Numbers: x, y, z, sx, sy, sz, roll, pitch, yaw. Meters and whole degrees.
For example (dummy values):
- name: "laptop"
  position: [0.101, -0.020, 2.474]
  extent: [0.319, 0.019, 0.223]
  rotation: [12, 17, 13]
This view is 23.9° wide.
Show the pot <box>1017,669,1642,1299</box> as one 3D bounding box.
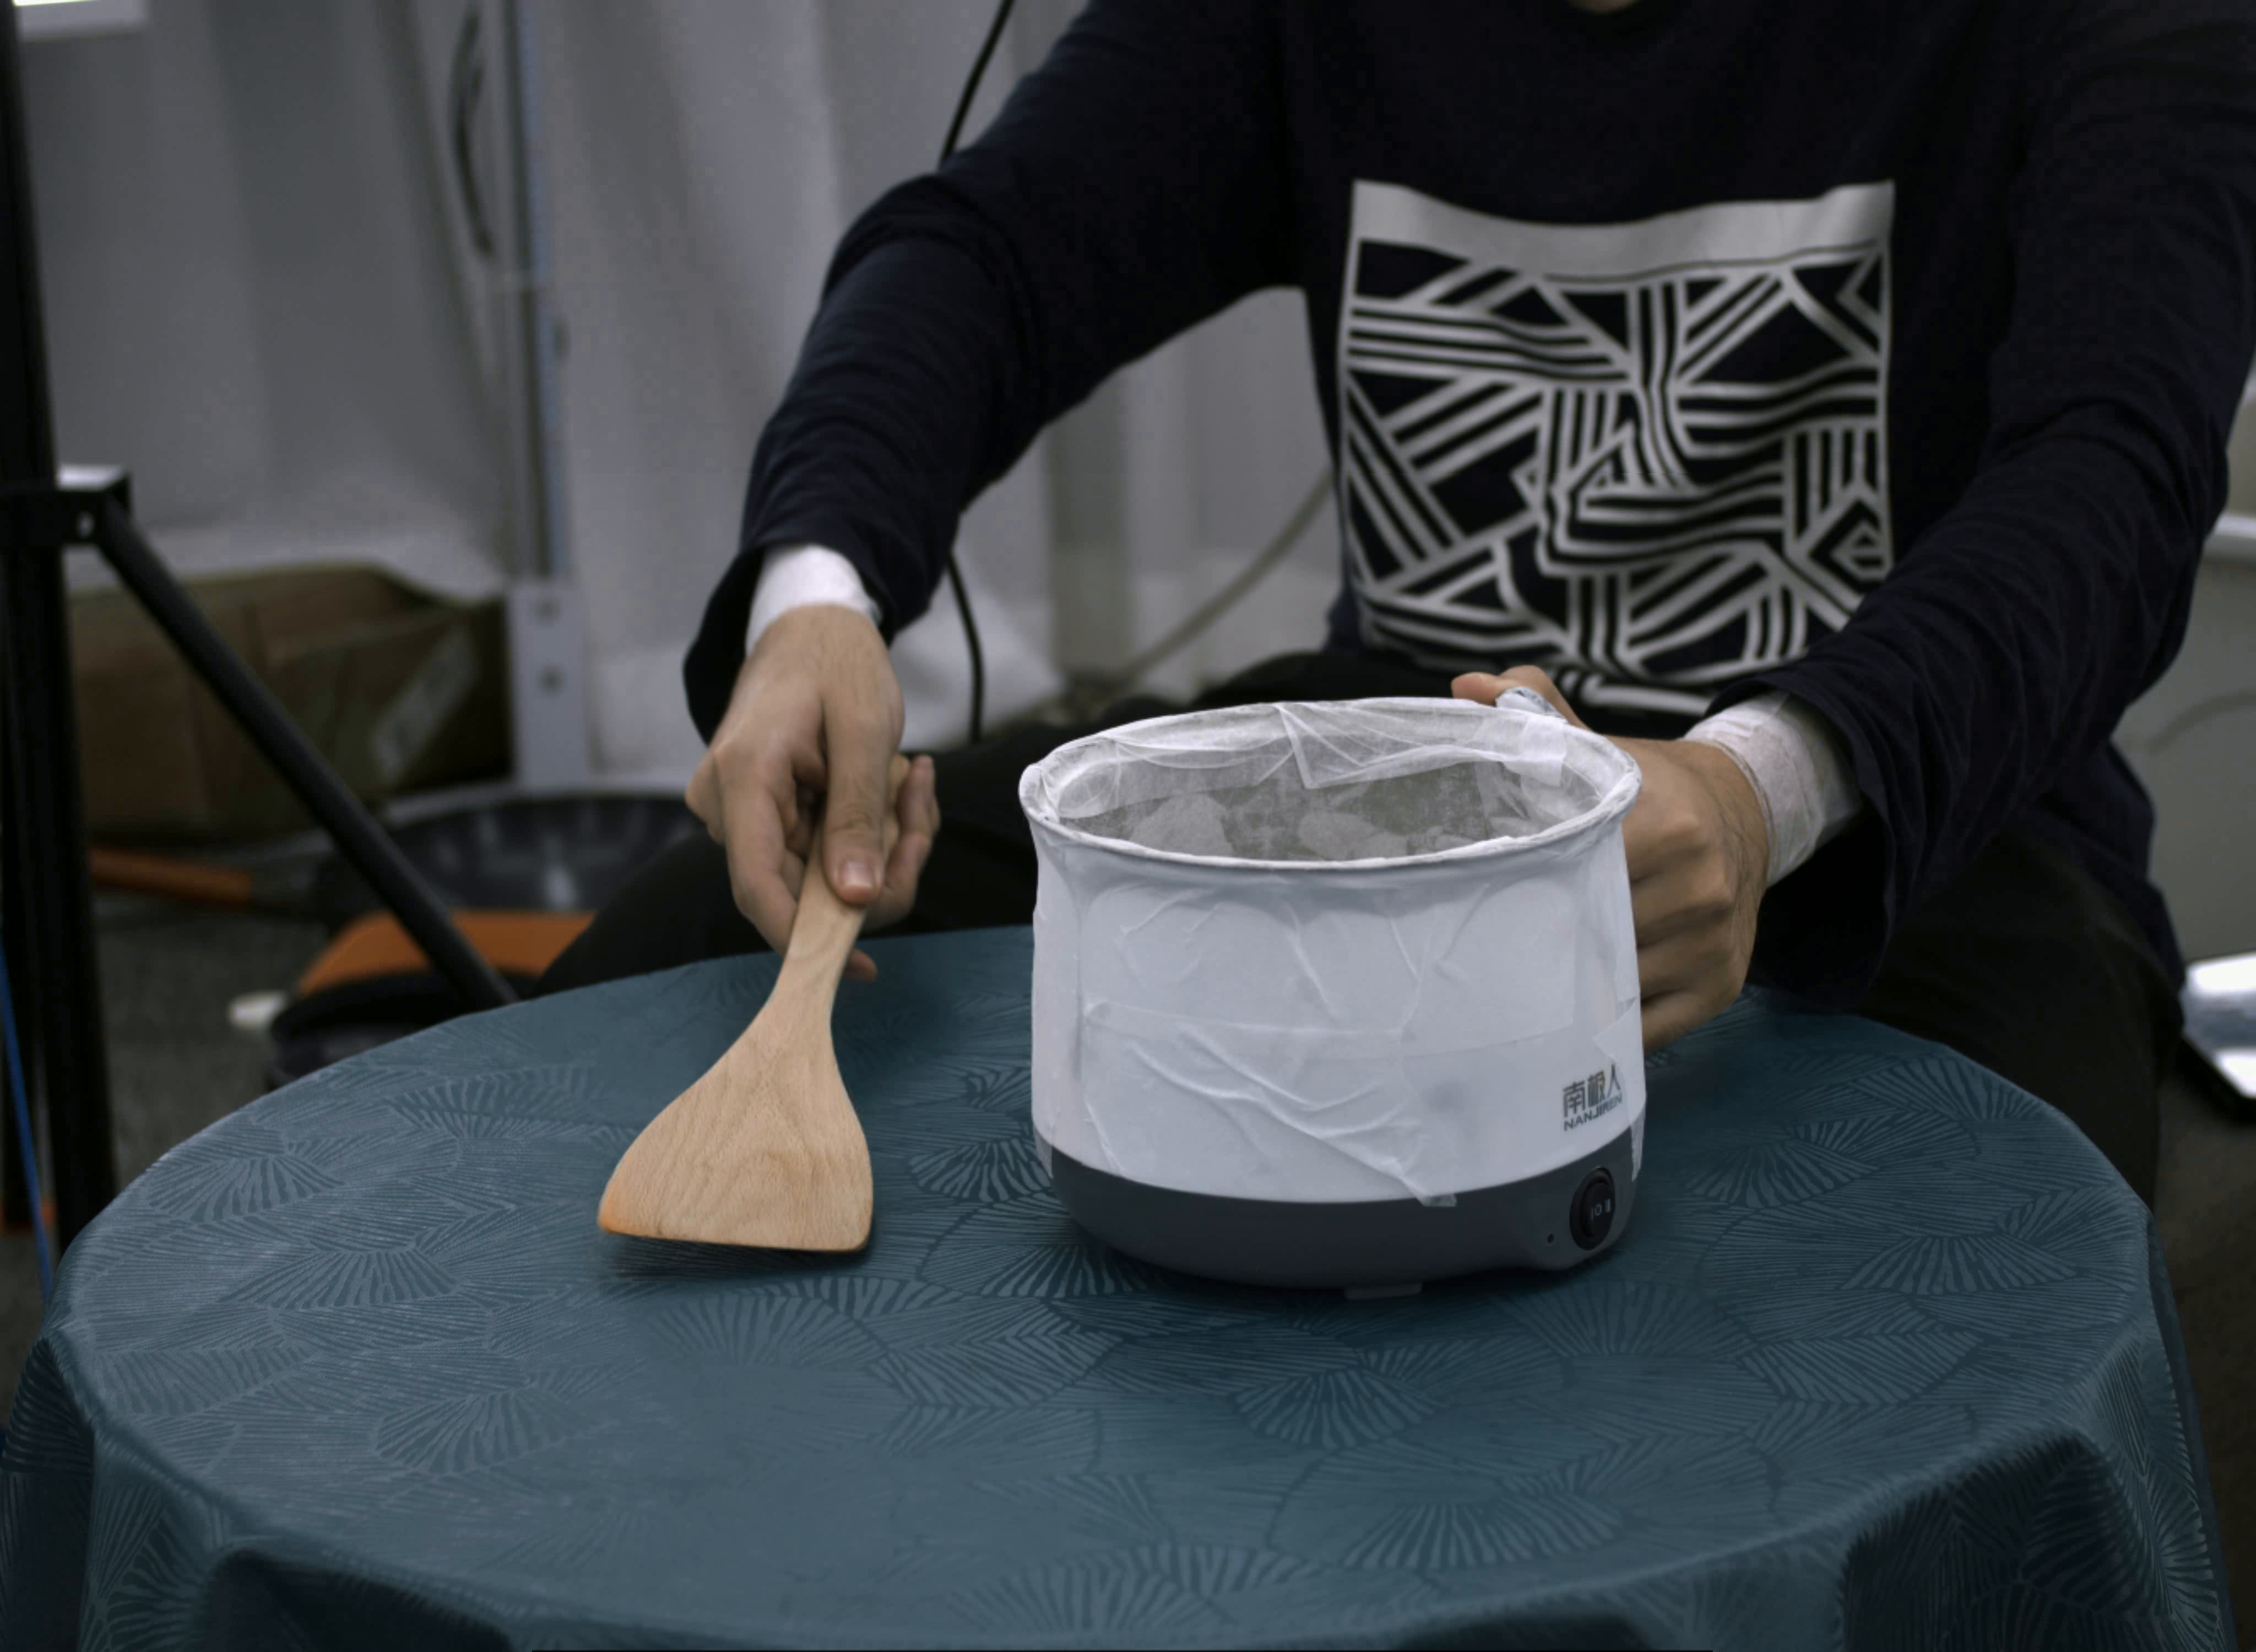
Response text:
- name: "pot"
  position: [0.074, 0.038, 1.536]
  extent: [0.182, 0.136, 0.229]
  rotation: [10, 21, 35]

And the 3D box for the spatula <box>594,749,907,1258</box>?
- name: "spatula"
  position: [-0.100, 0.050, 1.647]
  extent: [0.080, 0.016, 0.328]
  rotation: [8, 29, 2]
